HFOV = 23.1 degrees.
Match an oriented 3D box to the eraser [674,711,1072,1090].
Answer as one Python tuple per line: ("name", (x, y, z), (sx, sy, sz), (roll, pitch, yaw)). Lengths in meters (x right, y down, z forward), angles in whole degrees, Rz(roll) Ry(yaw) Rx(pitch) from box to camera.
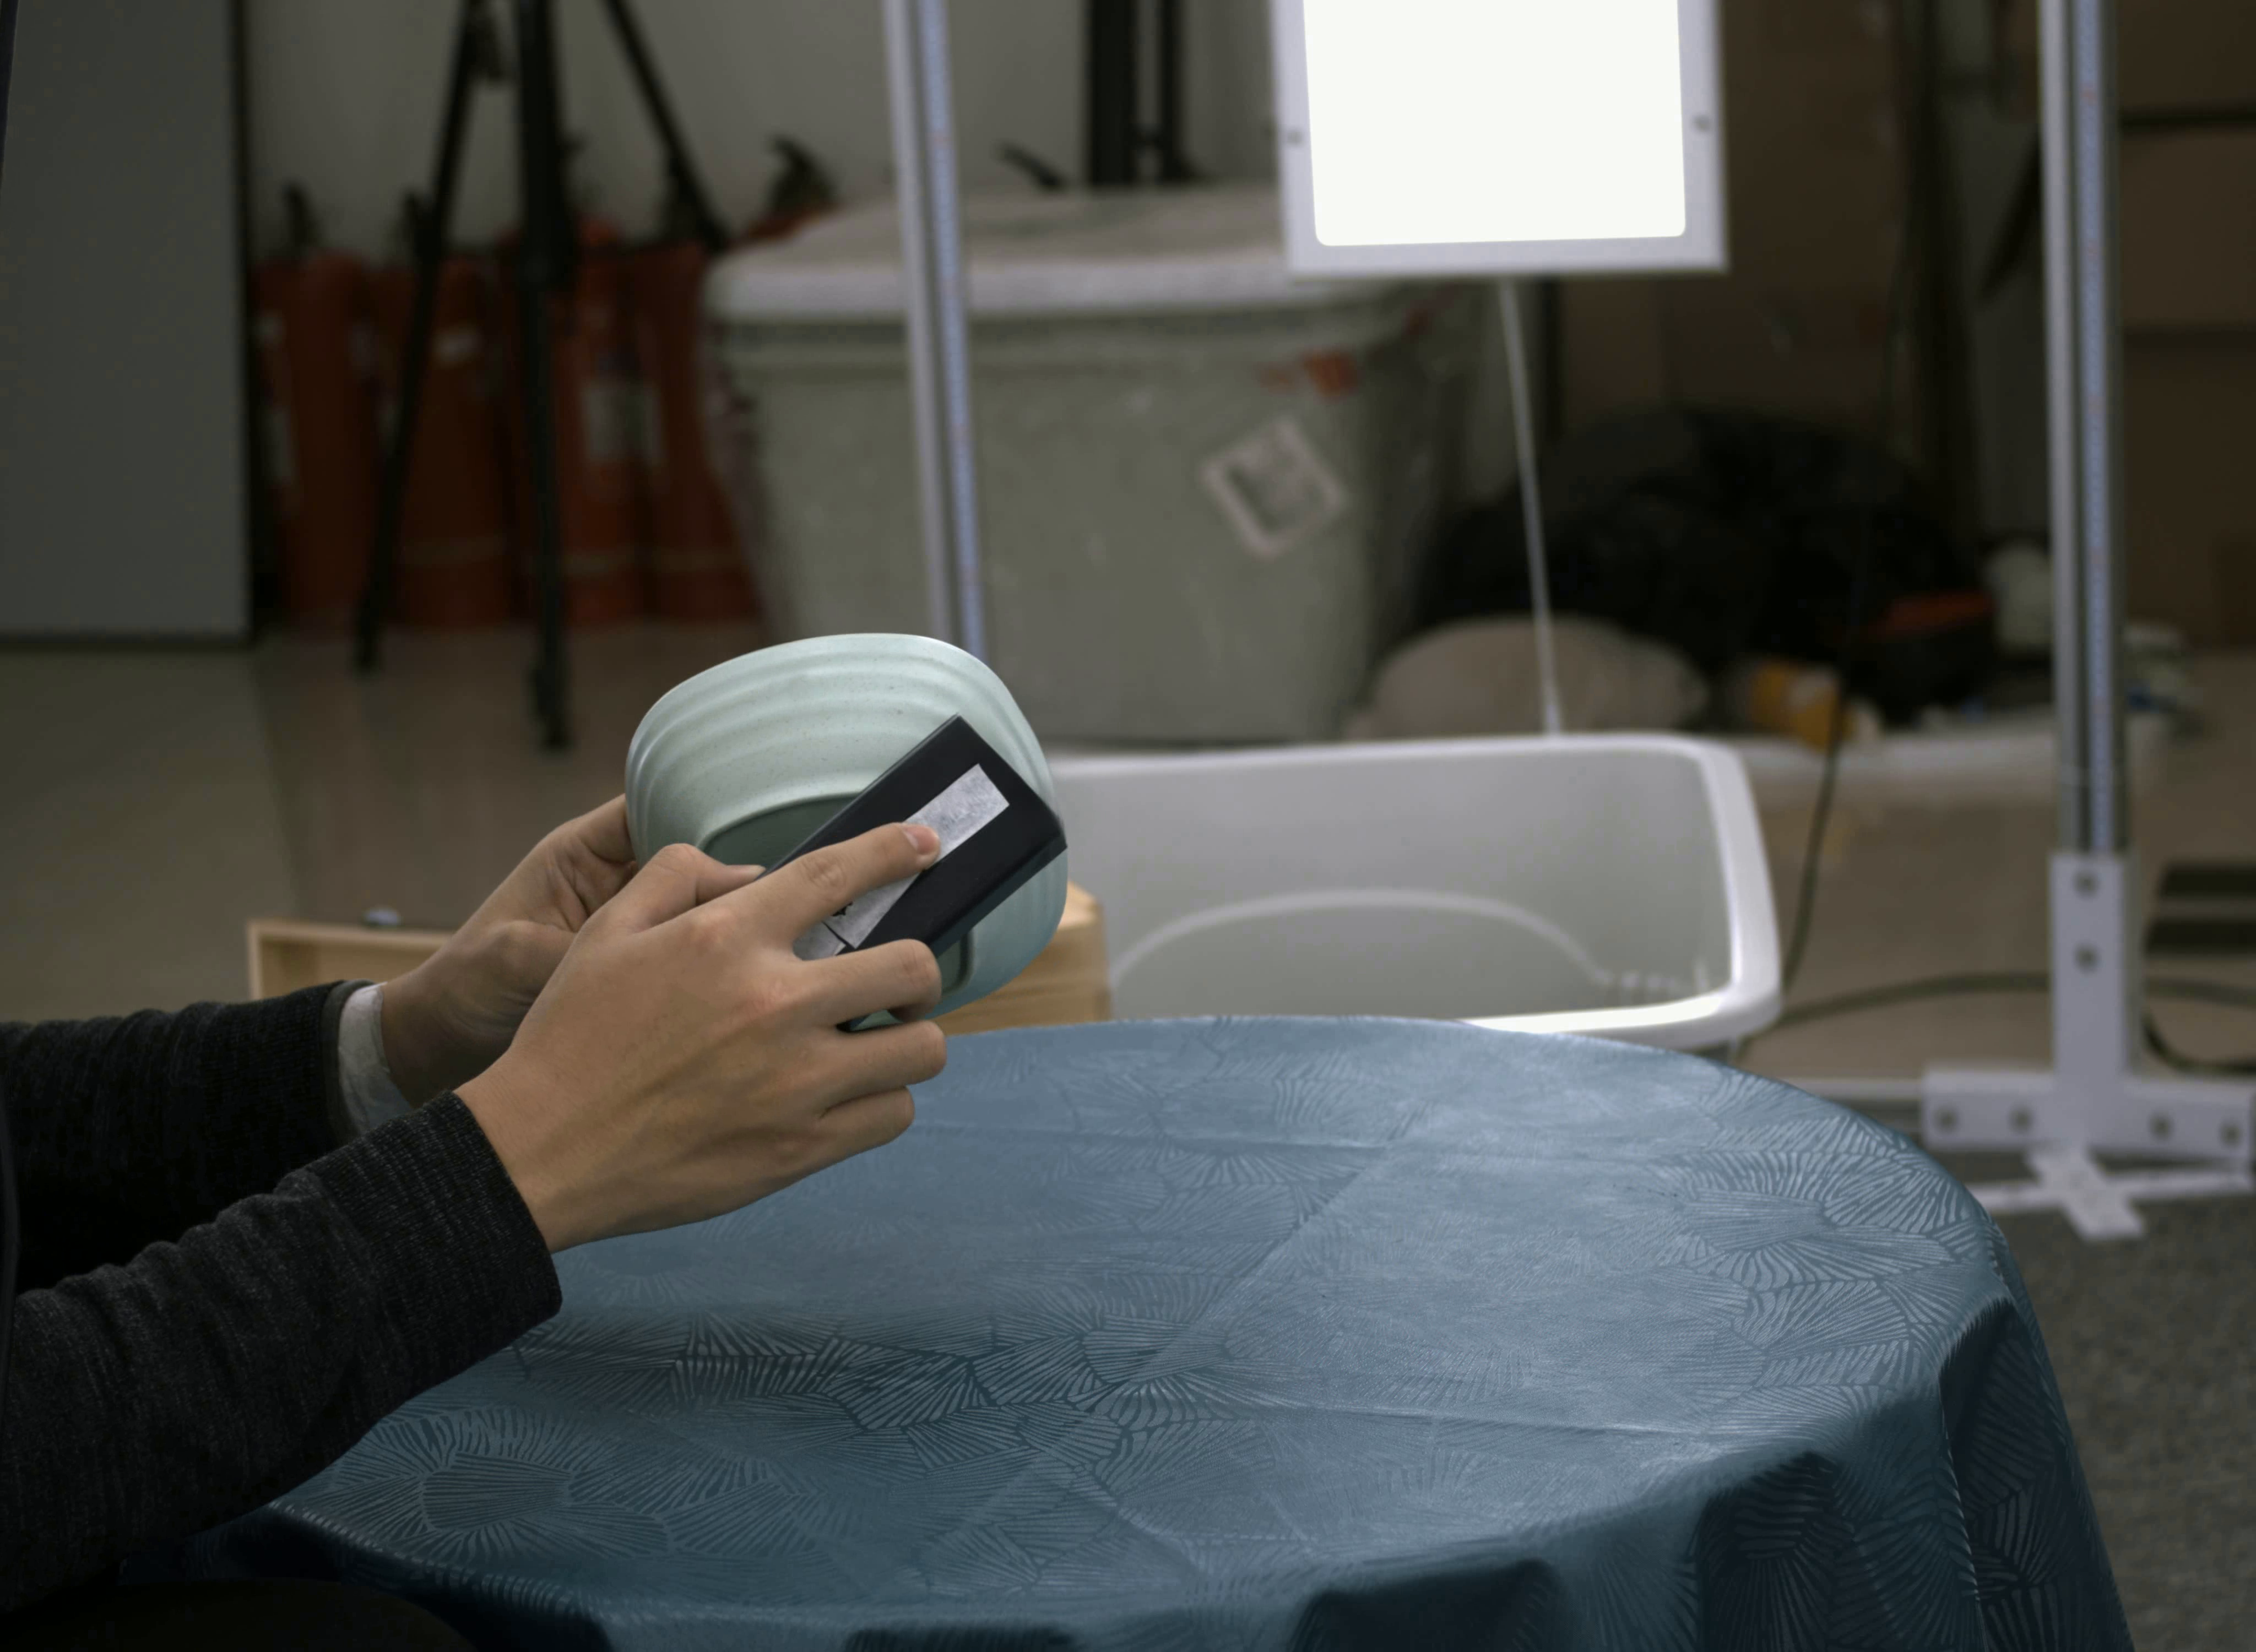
("eraser", (-0.077, 0.021, 1.672), (0.123, 0.054, 0.031), (-42, -12, -24))

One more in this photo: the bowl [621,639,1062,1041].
("bowl", (-0.093, 0.016, 1.748), (0.152, 0.152, 0.058), (-2, 29, 8))
